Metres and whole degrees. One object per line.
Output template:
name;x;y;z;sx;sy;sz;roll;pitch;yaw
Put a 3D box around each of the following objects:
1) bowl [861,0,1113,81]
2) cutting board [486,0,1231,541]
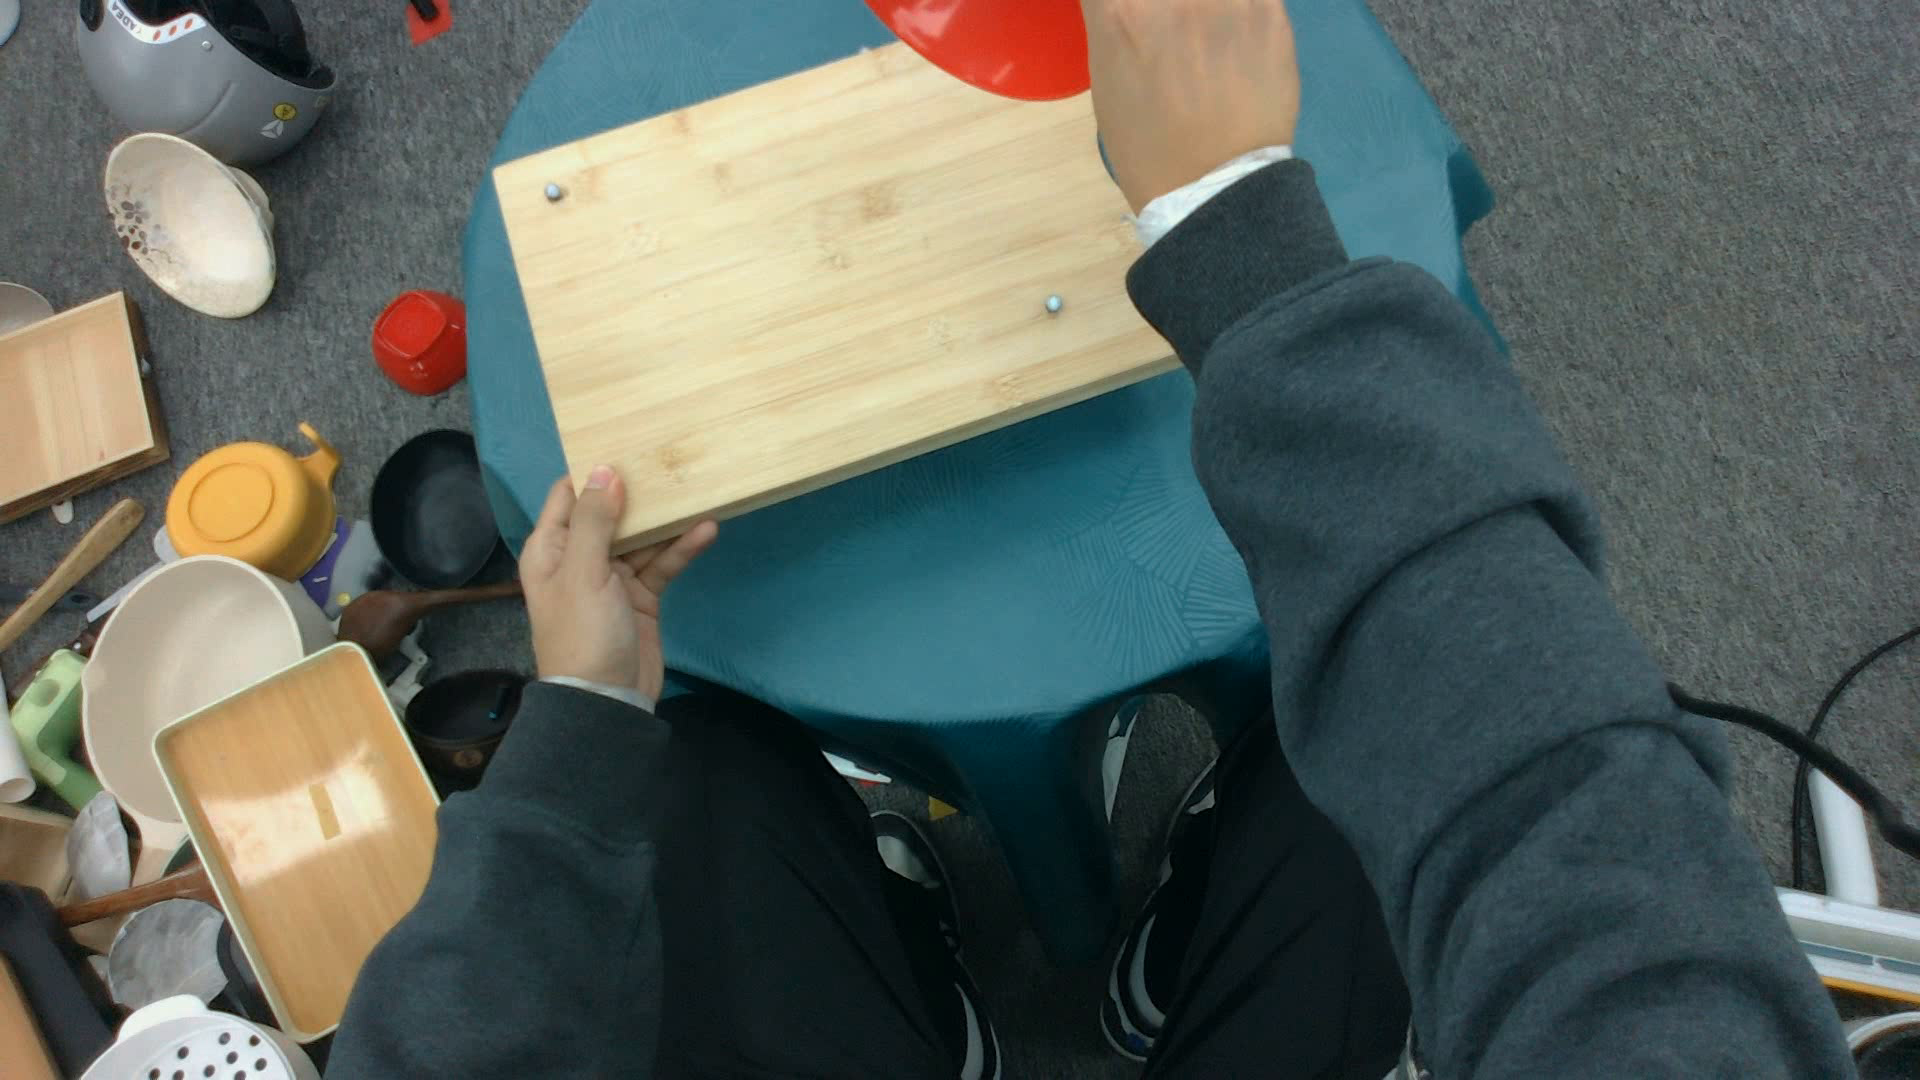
bowl;0.017;-0.276;0.570;0.148;0.147;0.105;35;79;14
cutting board;-0.065;-0.161;0.735;0.349;0.023;0.251;-20;69;-5
